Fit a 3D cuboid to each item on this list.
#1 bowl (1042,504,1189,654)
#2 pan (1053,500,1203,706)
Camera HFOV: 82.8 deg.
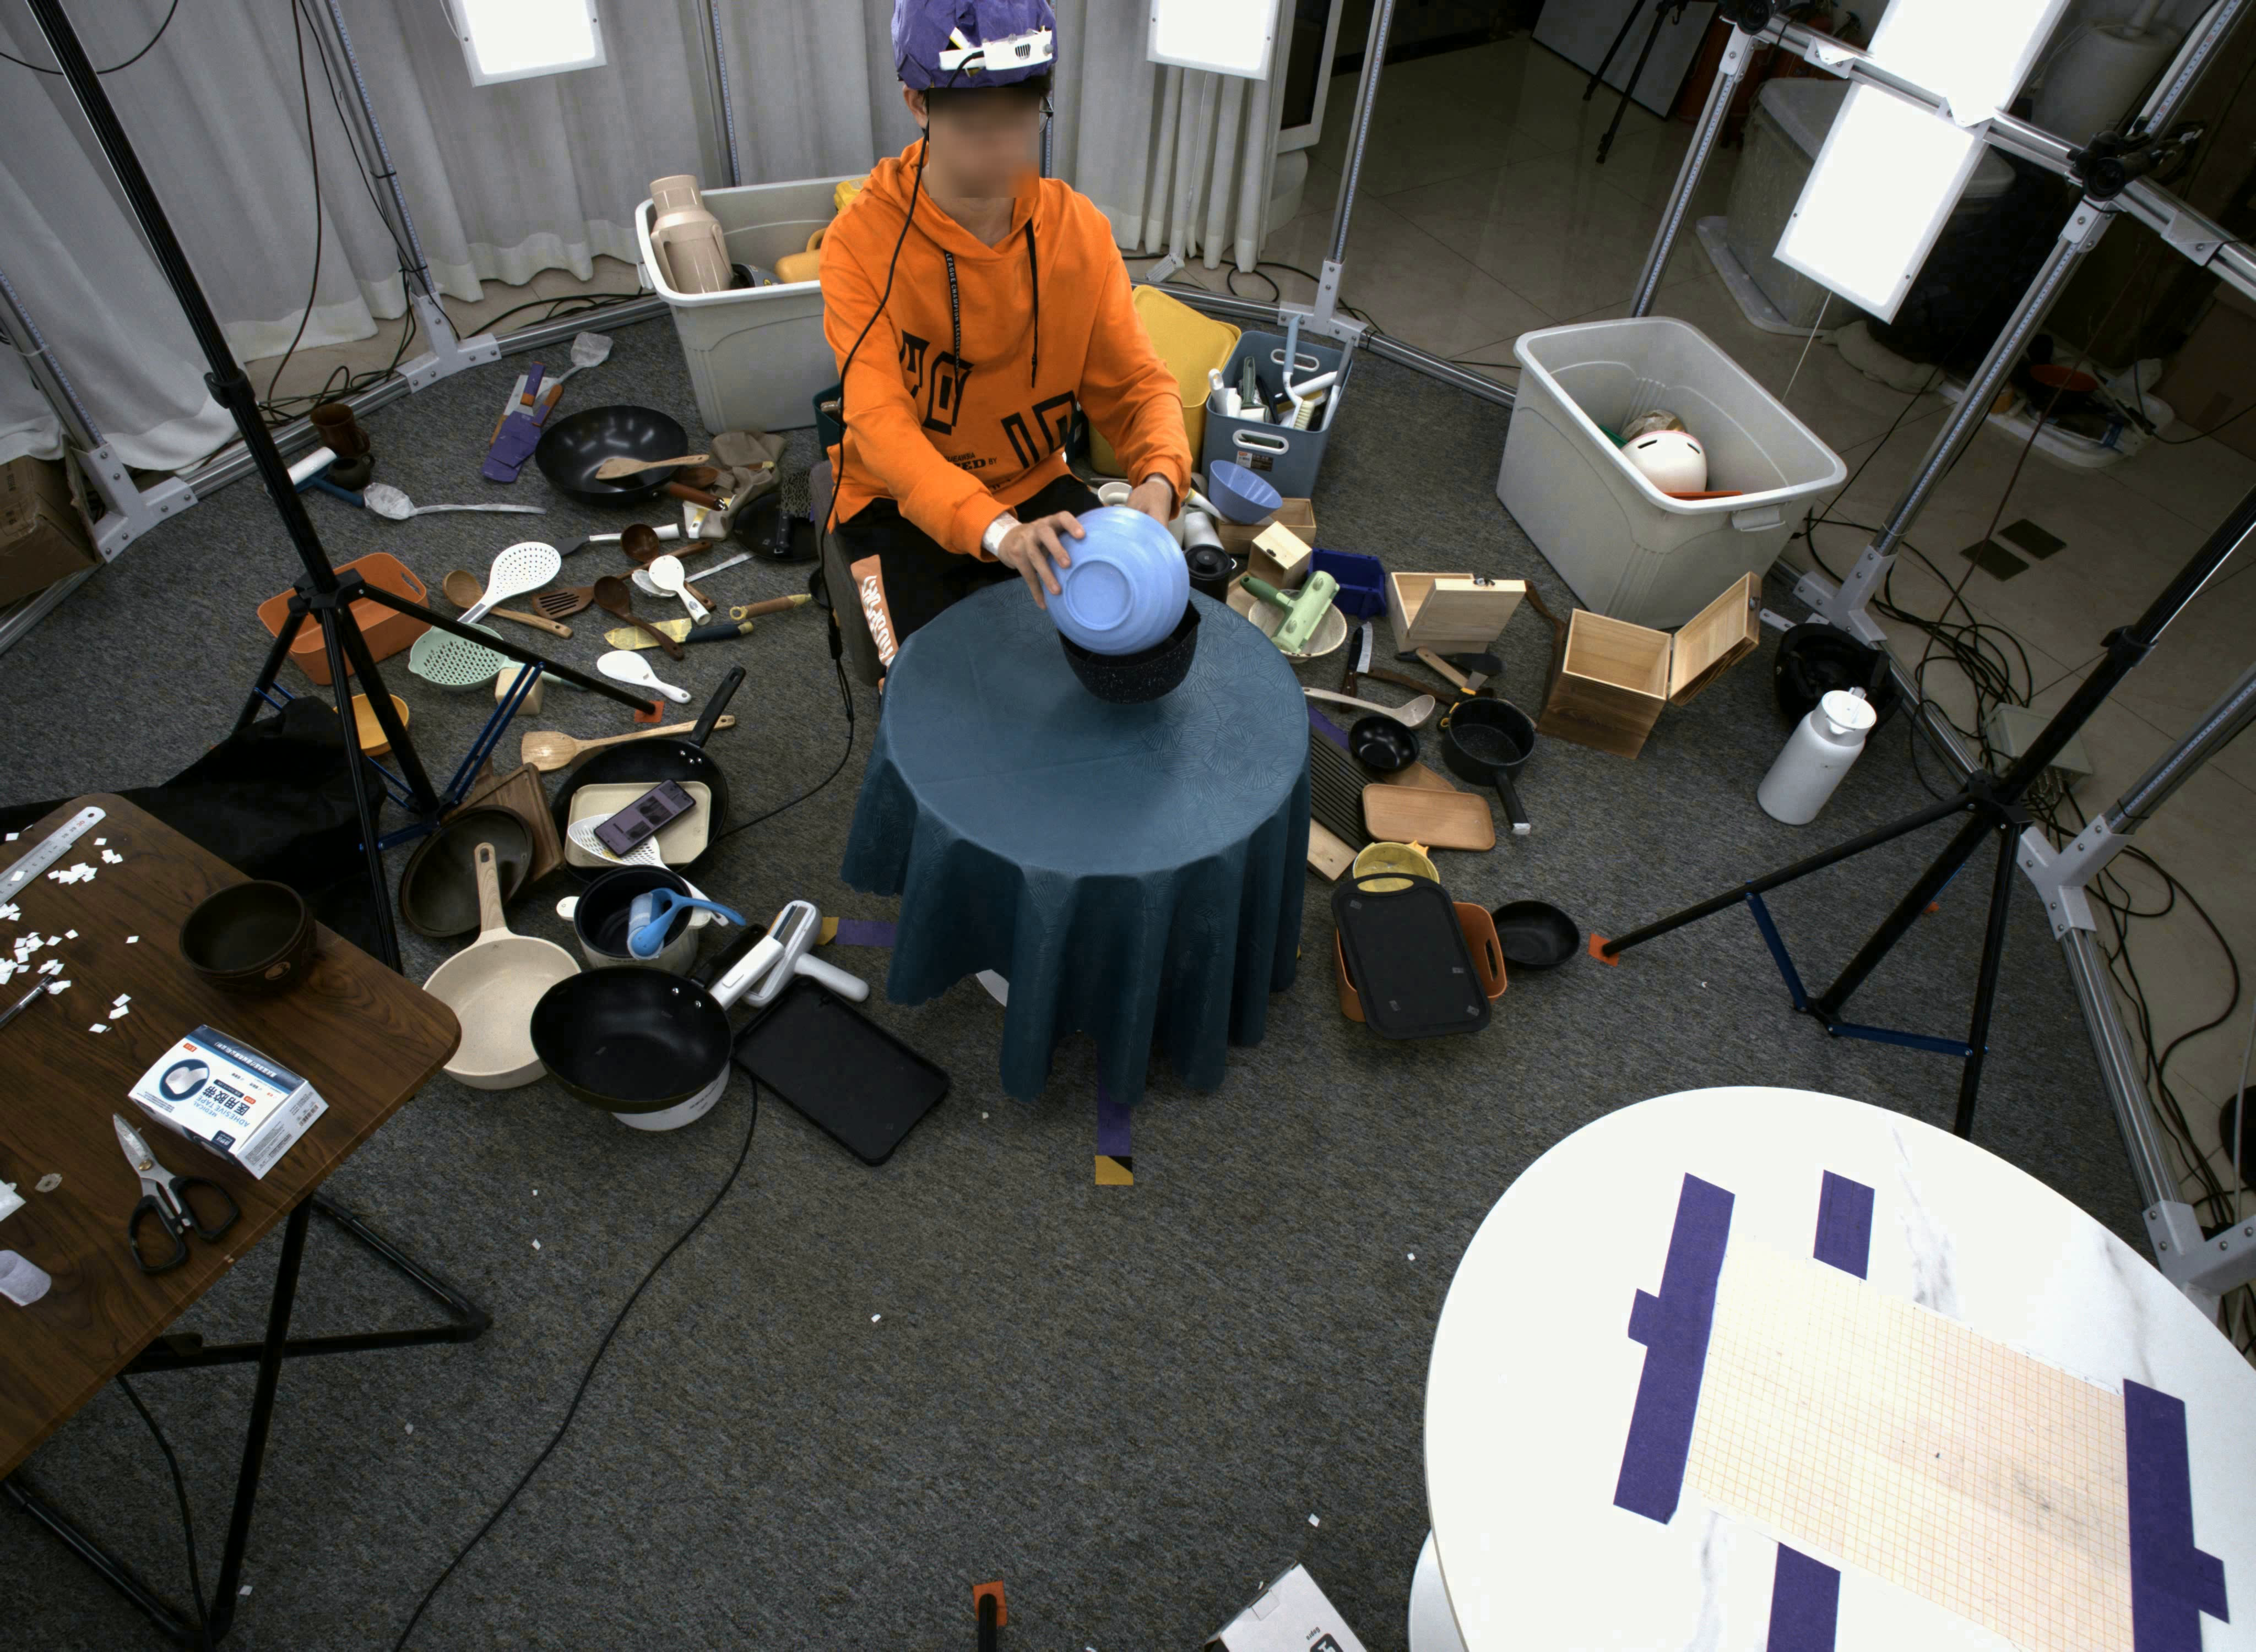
[{"bbox_3d":[-0.028,-0.306,1.646,0.197,0.193,0.096,18,24,11],"label":"bowl"},{"bbox_3d":[0.006,-0.314,1.805,0.207,0.105,0.351,-5,48,8],"label":"pan"}]
